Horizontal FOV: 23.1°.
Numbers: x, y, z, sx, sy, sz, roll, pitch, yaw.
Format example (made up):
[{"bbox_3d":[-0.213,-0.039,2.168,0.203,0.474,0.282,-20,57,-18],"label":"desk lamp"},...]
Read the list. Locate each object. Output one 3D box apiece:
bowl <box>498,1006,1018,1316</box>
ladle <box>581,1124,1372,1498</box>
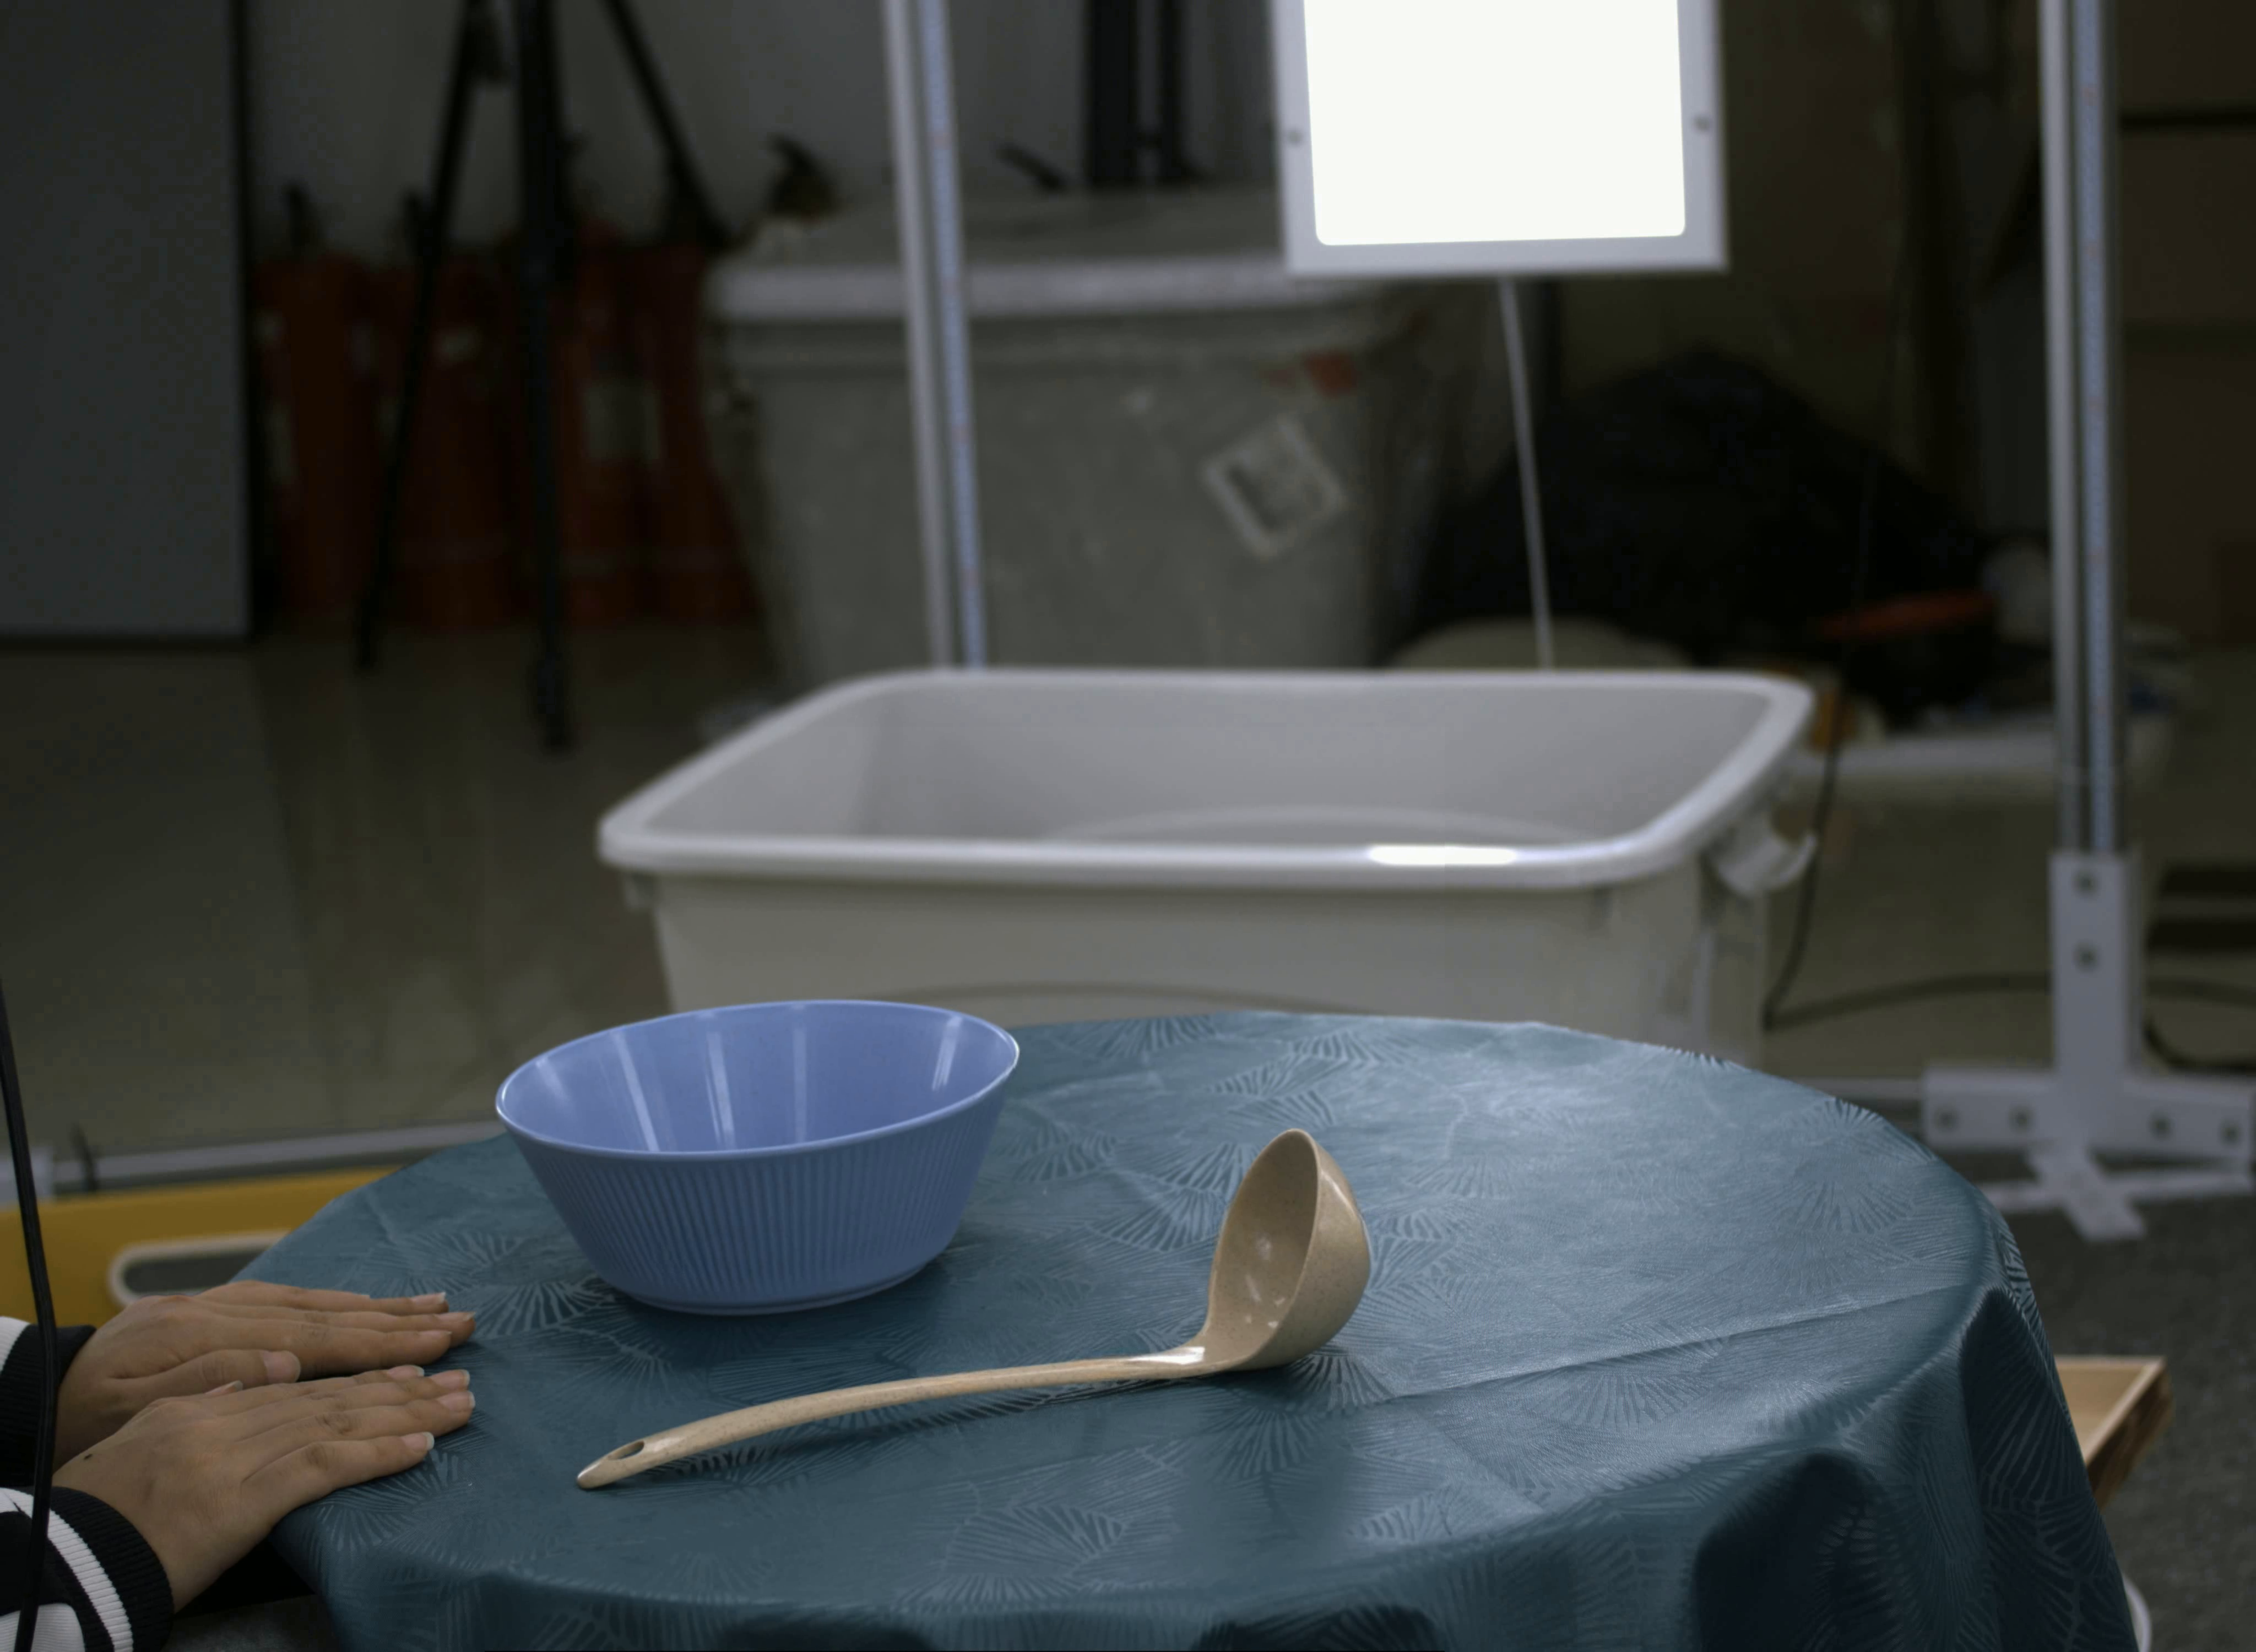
[{"bbox_3d":[-0.121,0.114,1.845,0.175,0.070,0.176,-5,13,0],"label":"bowl"},{"bbox_3d":[-0.048,0.146,1.683,0.250,0.073,0.073,-9,14,-17],"label":"ladle"}]
